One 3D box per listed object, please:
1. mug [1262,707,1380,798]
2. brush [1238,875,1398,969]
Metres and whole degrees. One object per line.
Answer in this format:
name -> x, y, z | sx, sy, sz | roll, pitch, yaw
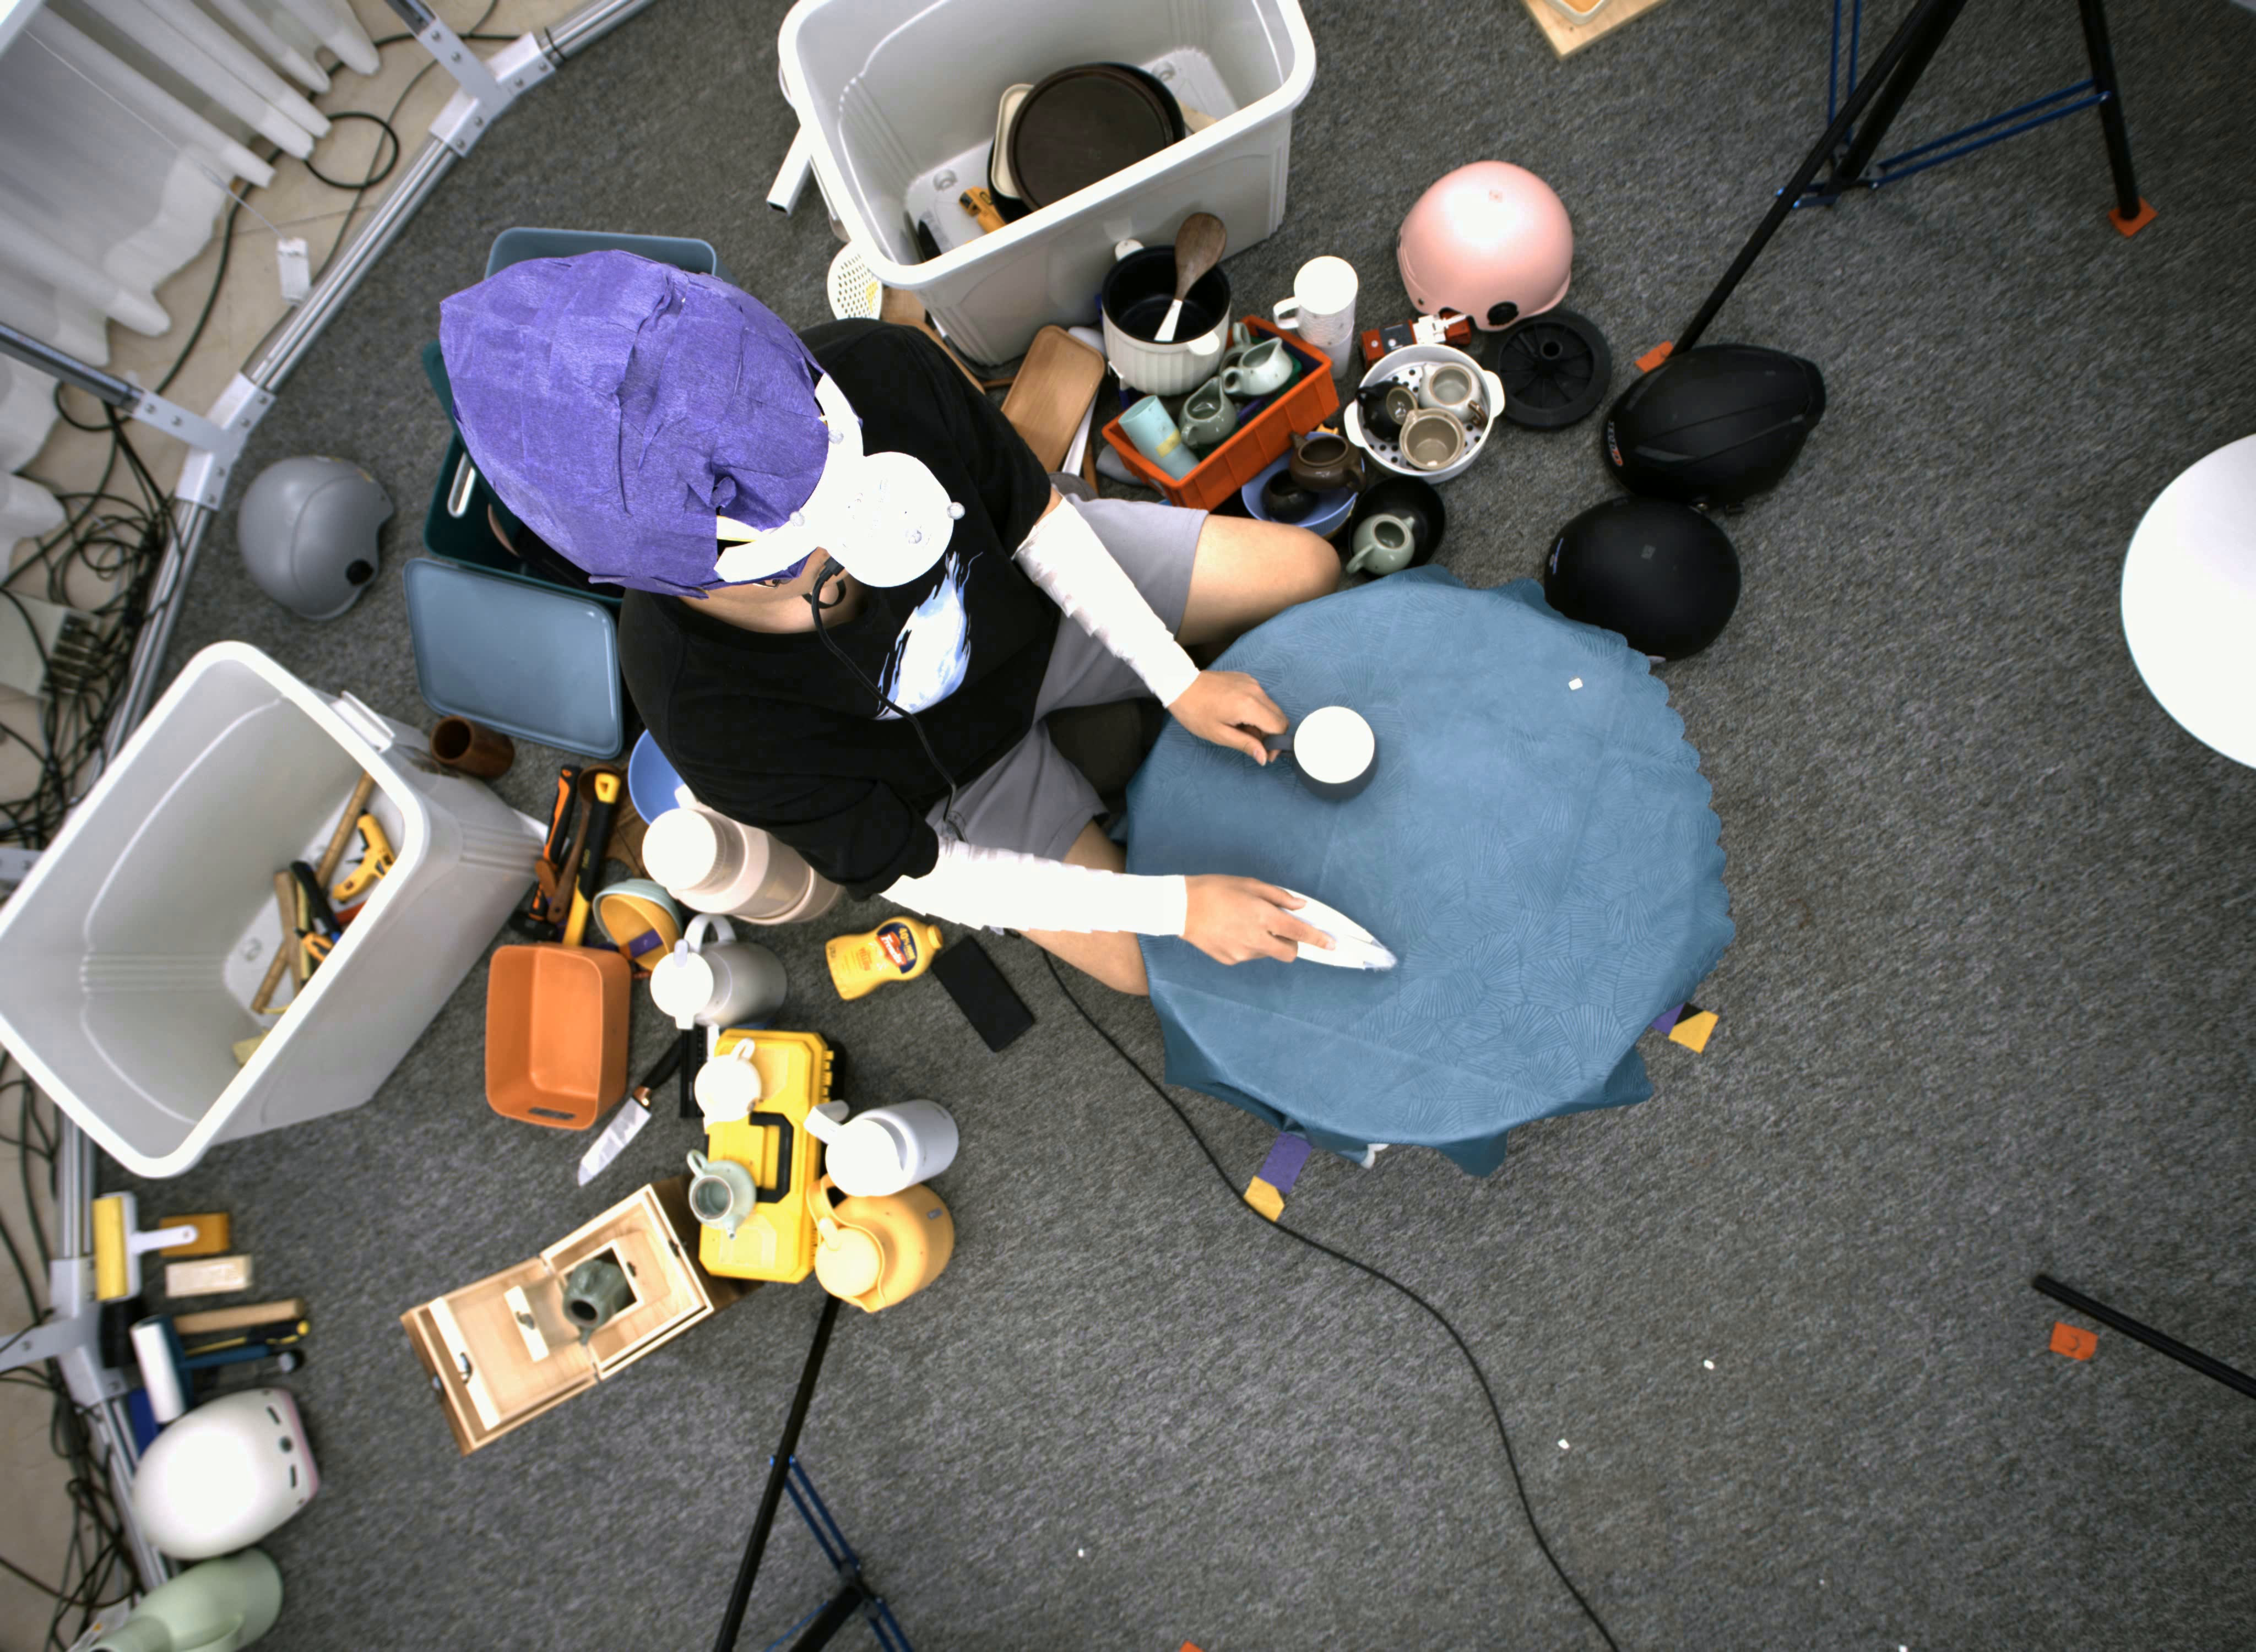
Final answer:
mug -> 0.200, -0.081, 1.434 | 0.123, 0.090, 0.093 | 7, 88, 11
brush -> 0.196, 0.106, 1.414 | 0.175, 0.094, 0.061 | 24, 93, 7
